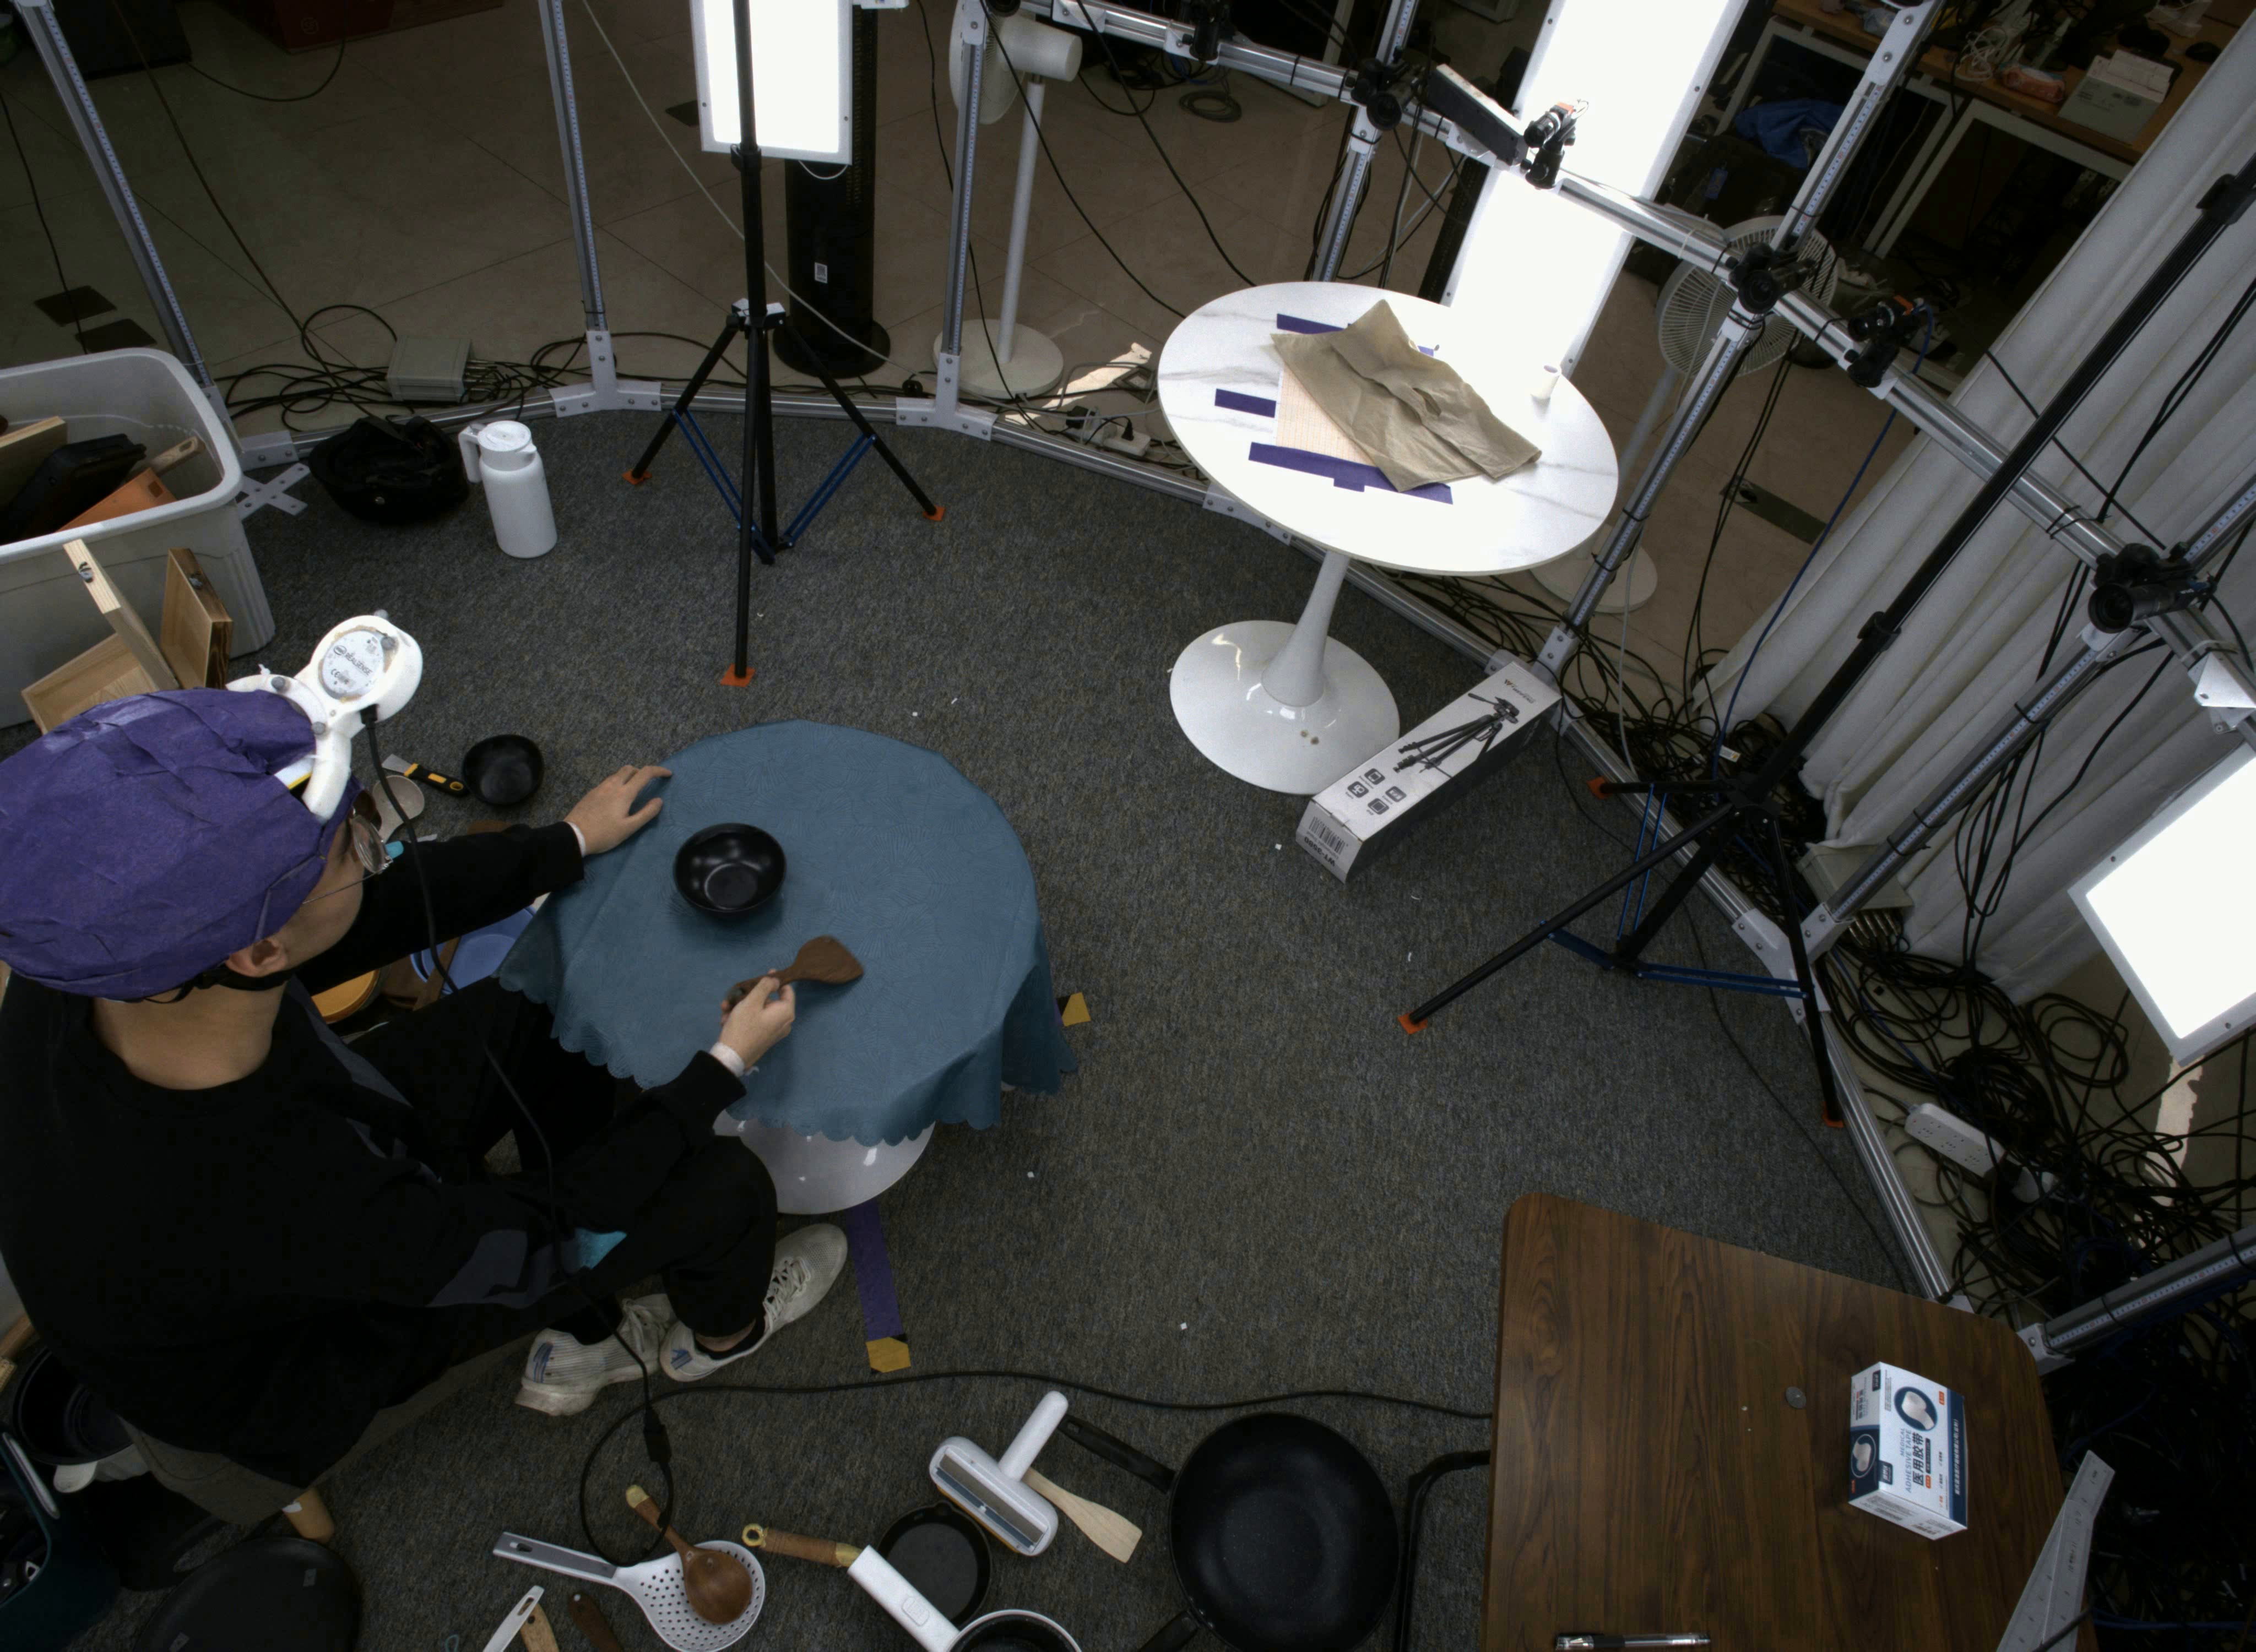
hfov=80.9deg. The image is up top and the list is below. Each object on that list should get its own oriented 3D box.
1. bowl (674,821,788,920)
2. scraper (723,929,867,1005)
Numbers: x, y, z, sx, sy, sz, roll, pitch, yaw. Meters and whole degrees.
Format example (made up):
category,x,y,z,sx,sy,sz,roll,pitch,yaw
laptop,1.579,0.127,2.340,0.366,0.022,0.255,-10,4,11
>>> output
category,x,y,z,sx,sy,sz,roll,pitch,yaw
bowl,-0.500,0.063,1.631,0.140,0.050,0.137,9,54,-10
scraper,-0.398,0.170,1.538,0.074,0.011,0.213,45,27,13
